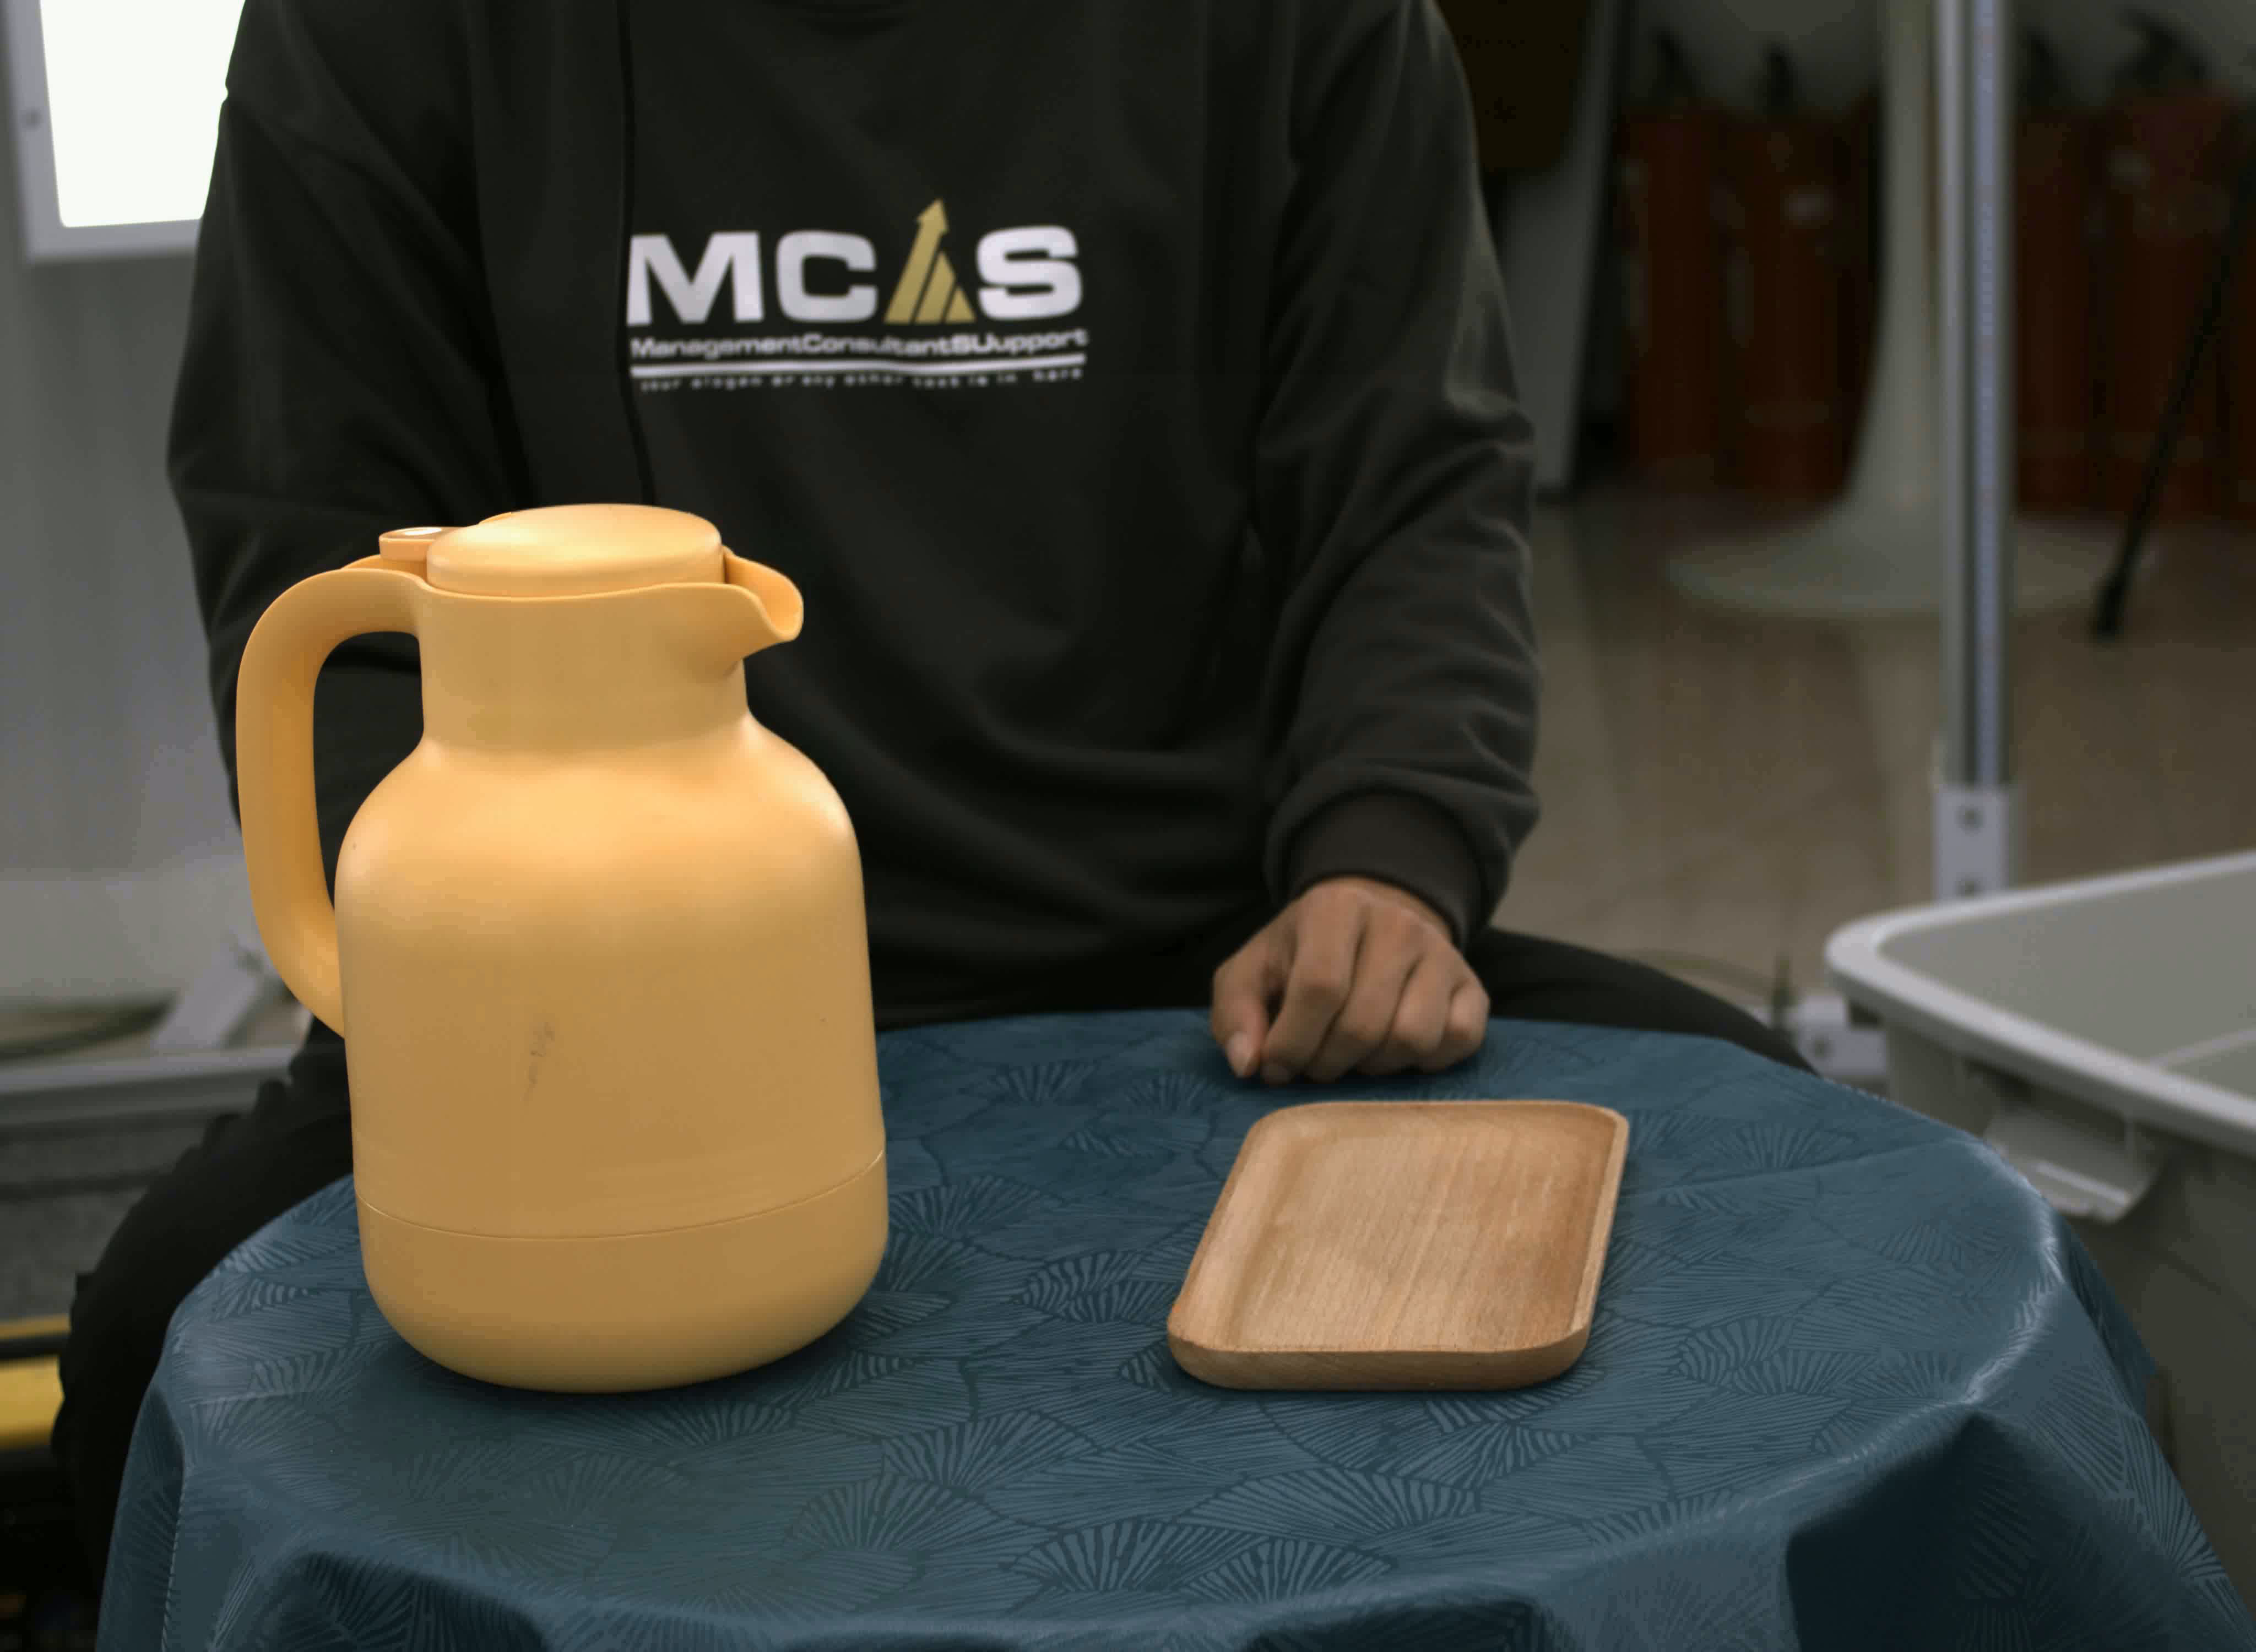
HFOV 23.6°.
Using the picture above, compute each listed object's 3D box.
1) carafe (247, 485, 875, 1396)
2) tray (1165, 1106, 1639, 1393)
[{"bbox_3d":[-0.175,0.029,1.644,0.203,0.263,0.161,5,12,29],"label":"carafe"},{"bbox_3d":[0.089,0.130,1.683,0.129,0.023,0.249,1,13,10],"label":"tray"}]
